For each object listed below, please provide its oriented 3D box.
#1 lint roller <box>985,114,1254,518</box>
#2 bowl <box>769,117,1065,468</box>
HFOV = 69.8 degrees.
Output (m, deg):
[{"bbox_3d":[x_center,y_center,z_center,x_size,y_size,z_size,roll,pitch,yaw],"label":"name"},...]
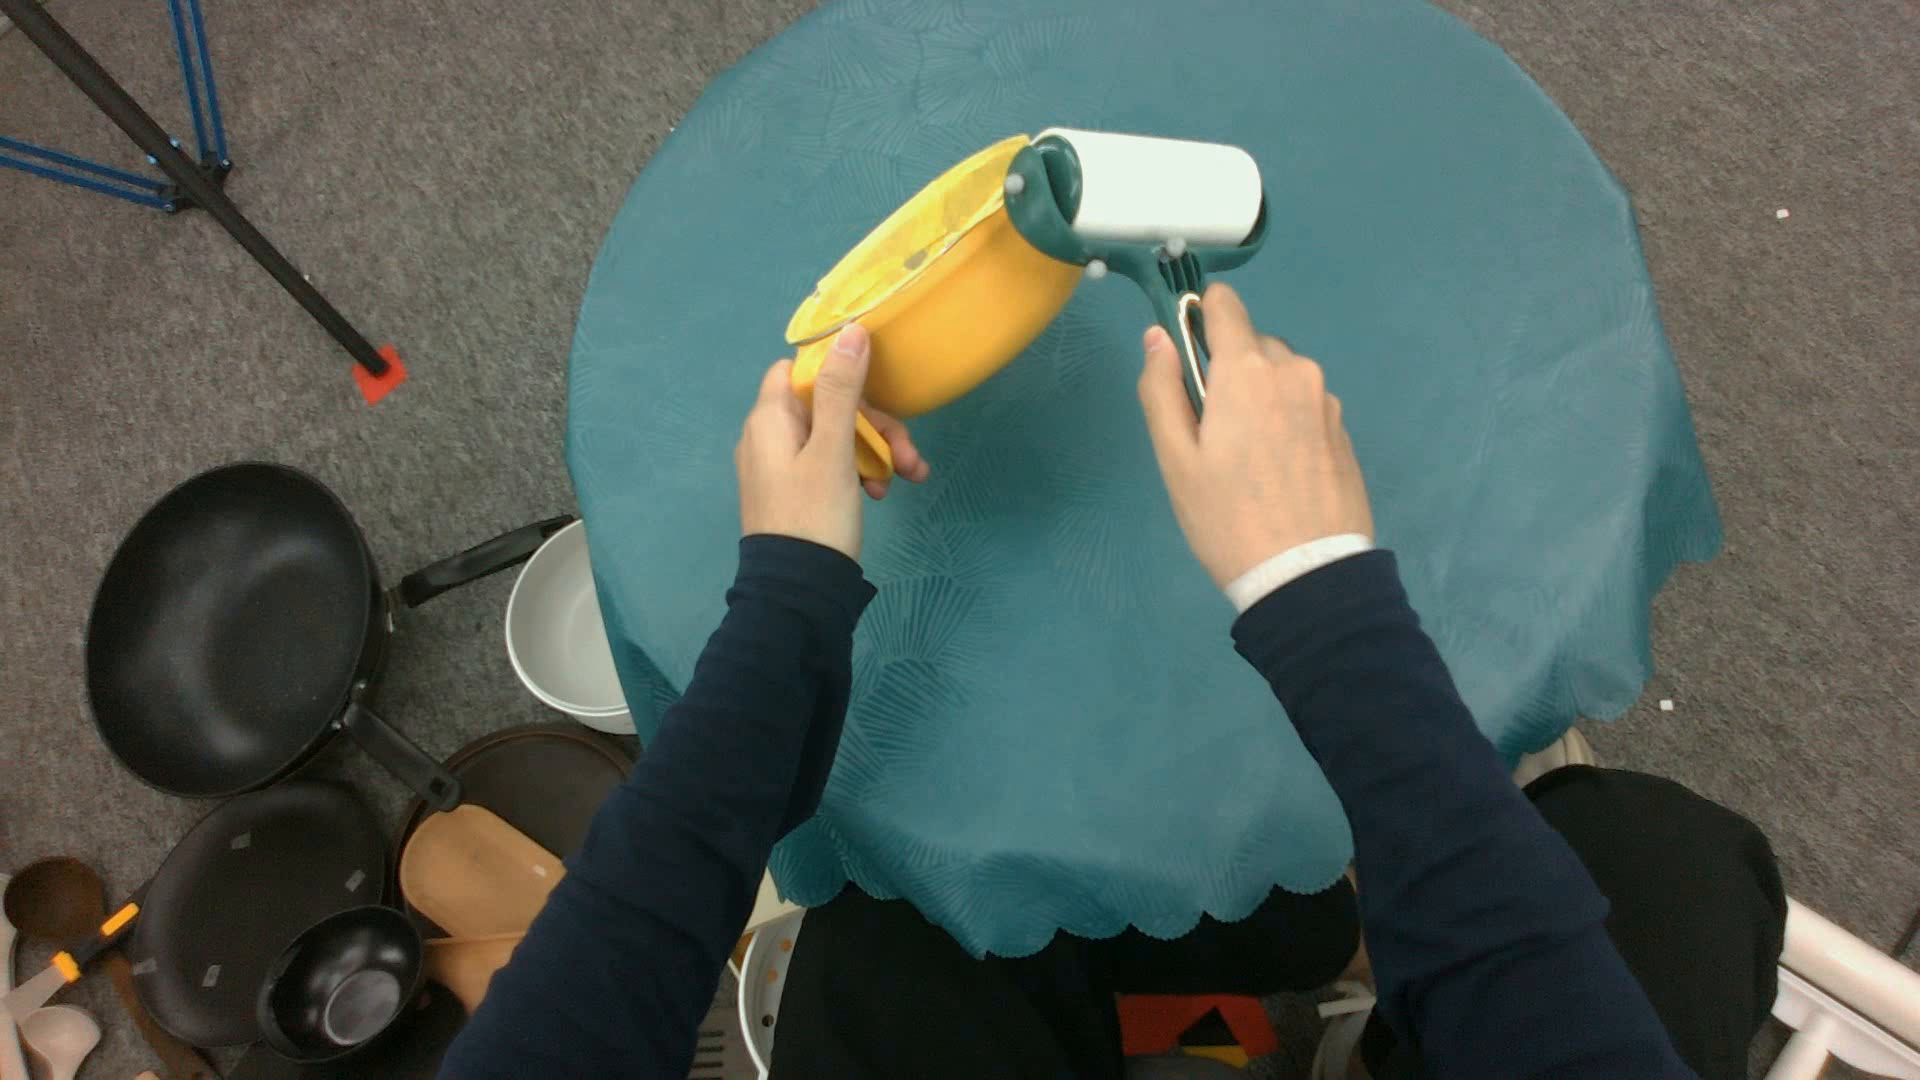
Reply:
[{"bbox_3d":[0.091,-0.098,0.574,0.135,0.048,0.180,-7,66,-36],"label":"lint roller"},{"bbox_3d":[-0.023,-0.119,0.667,0.152,0.074,0.180,-16,33,44],"label":"bowl"}]
